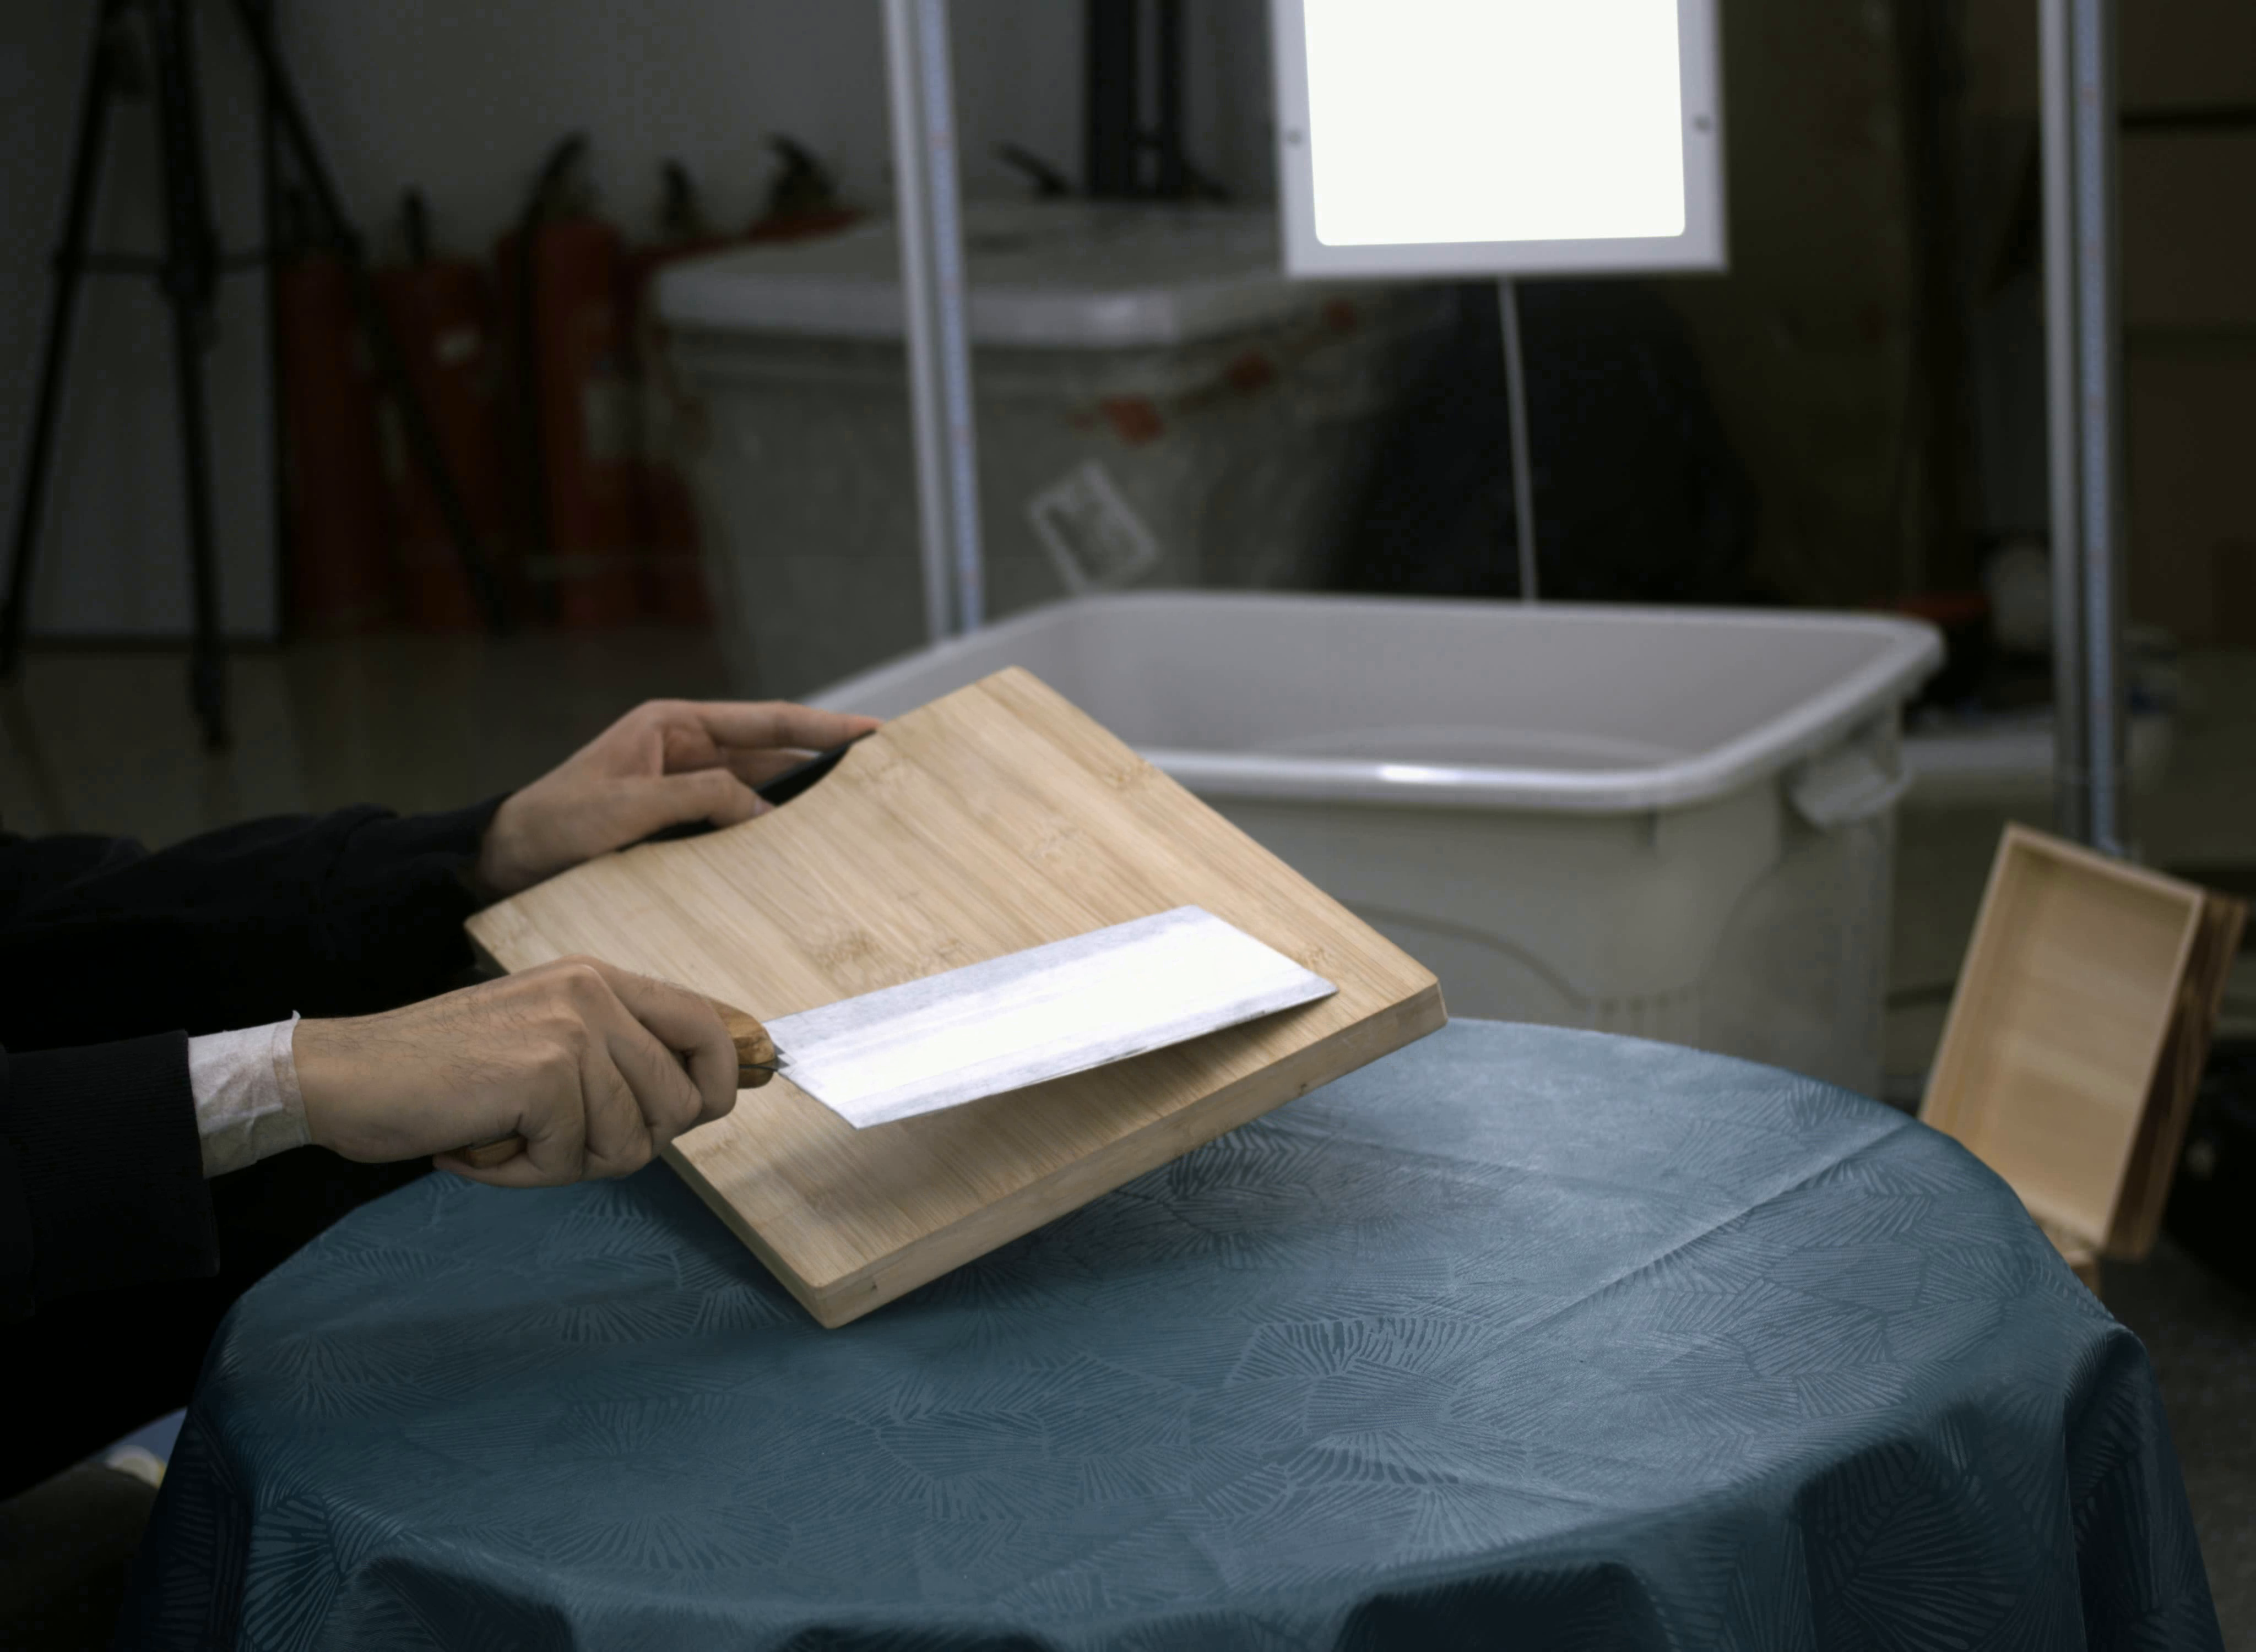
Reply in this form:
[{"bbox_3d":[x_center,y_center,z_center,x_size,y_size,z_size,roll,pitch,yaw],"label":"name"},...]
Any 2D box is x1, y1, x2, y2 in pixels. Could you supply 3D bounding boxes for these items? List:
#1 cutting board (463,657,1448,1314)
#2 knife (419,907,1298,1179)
[{"bbox_3d":[-0.070,0.048,1.958,0.247,0.023,0.354,-27,29,-17],"label":"cutting board"},{"bbox_3d":[-0.080,0.075,1.809,0.299,0.021,0.094,-15,27,-28],"label":"knife"}]
